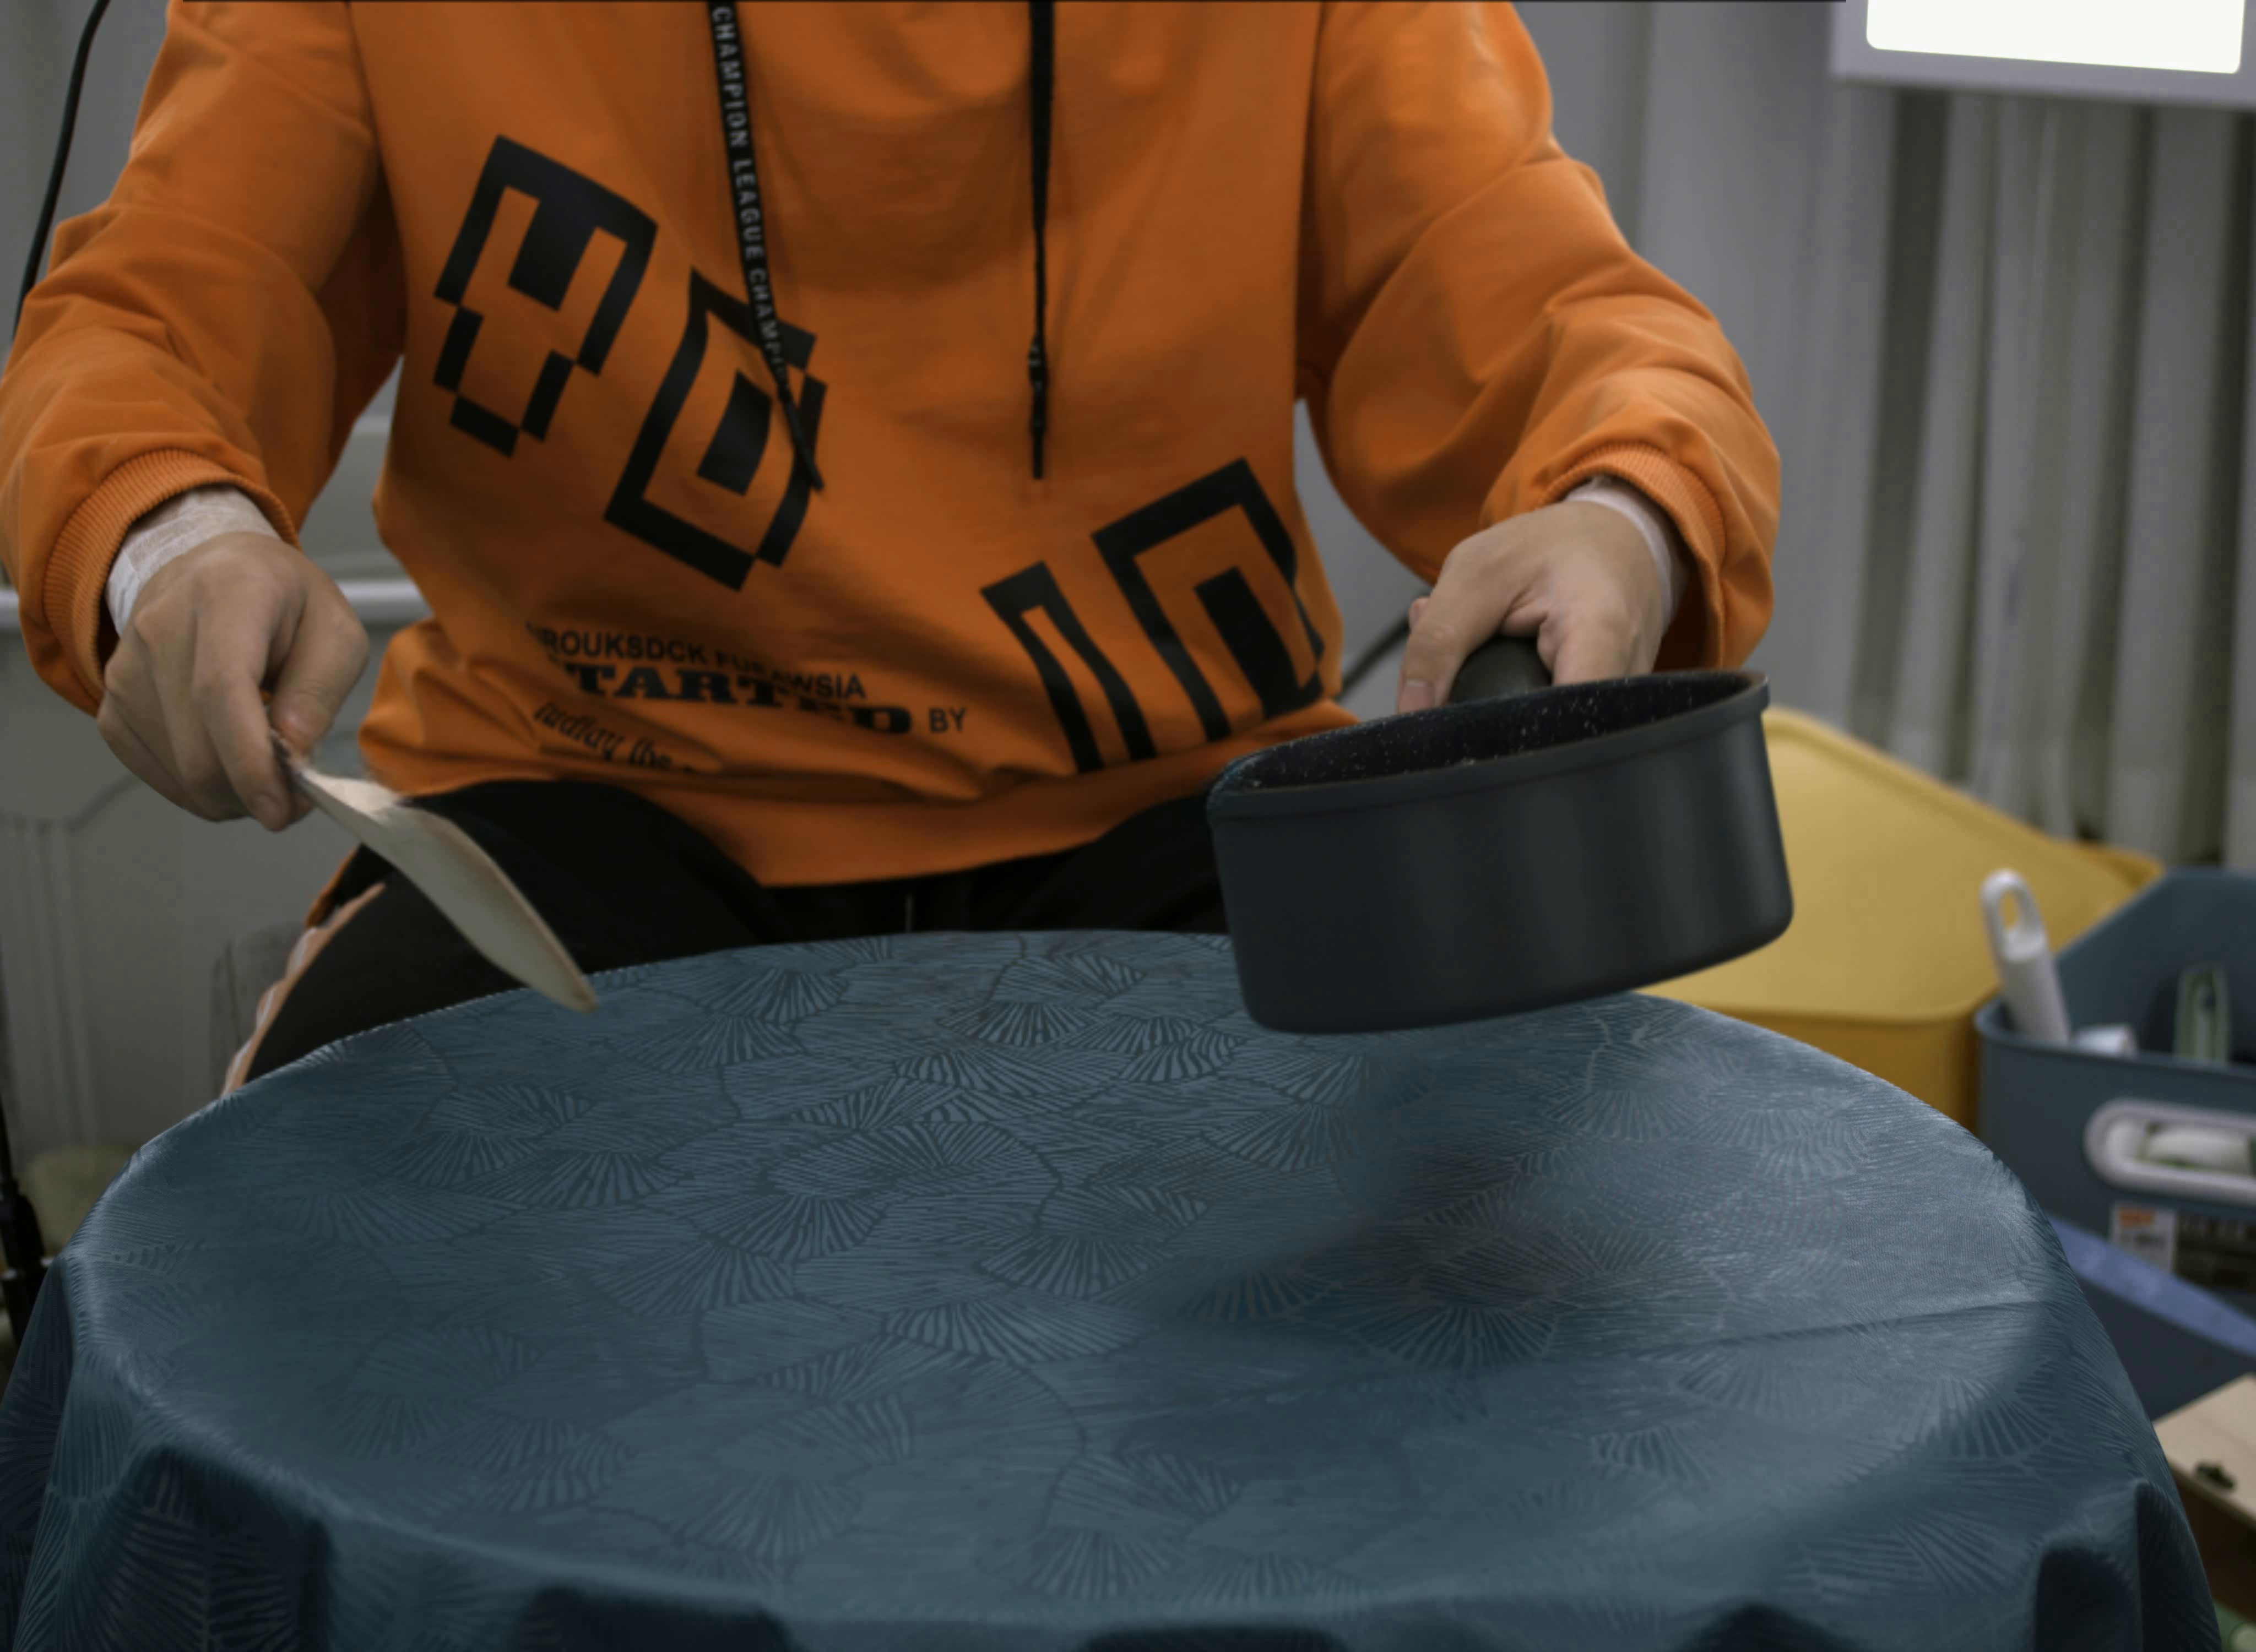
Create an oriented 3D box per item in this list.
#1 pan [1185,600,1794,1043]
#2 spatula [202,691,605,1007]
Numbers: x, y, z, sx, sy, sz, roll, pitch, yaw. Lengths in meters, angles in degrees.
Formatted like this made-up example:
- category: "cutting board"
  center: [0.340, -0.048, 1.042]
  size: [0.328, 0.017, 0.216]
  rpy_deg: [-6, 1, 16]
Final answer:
- category: "pan"
  center: [0.117, -0.006, 1.606]
  size: [0.171, 0.087, 0.328]
  rpy_deg: [-8, 8, 10]
- category: "spatula"
  center: [-0.231, -0.004, 1.588]
  size: [0.010, 0.073, 0.289]
  rpy_deg: [-44, 28, -11]
